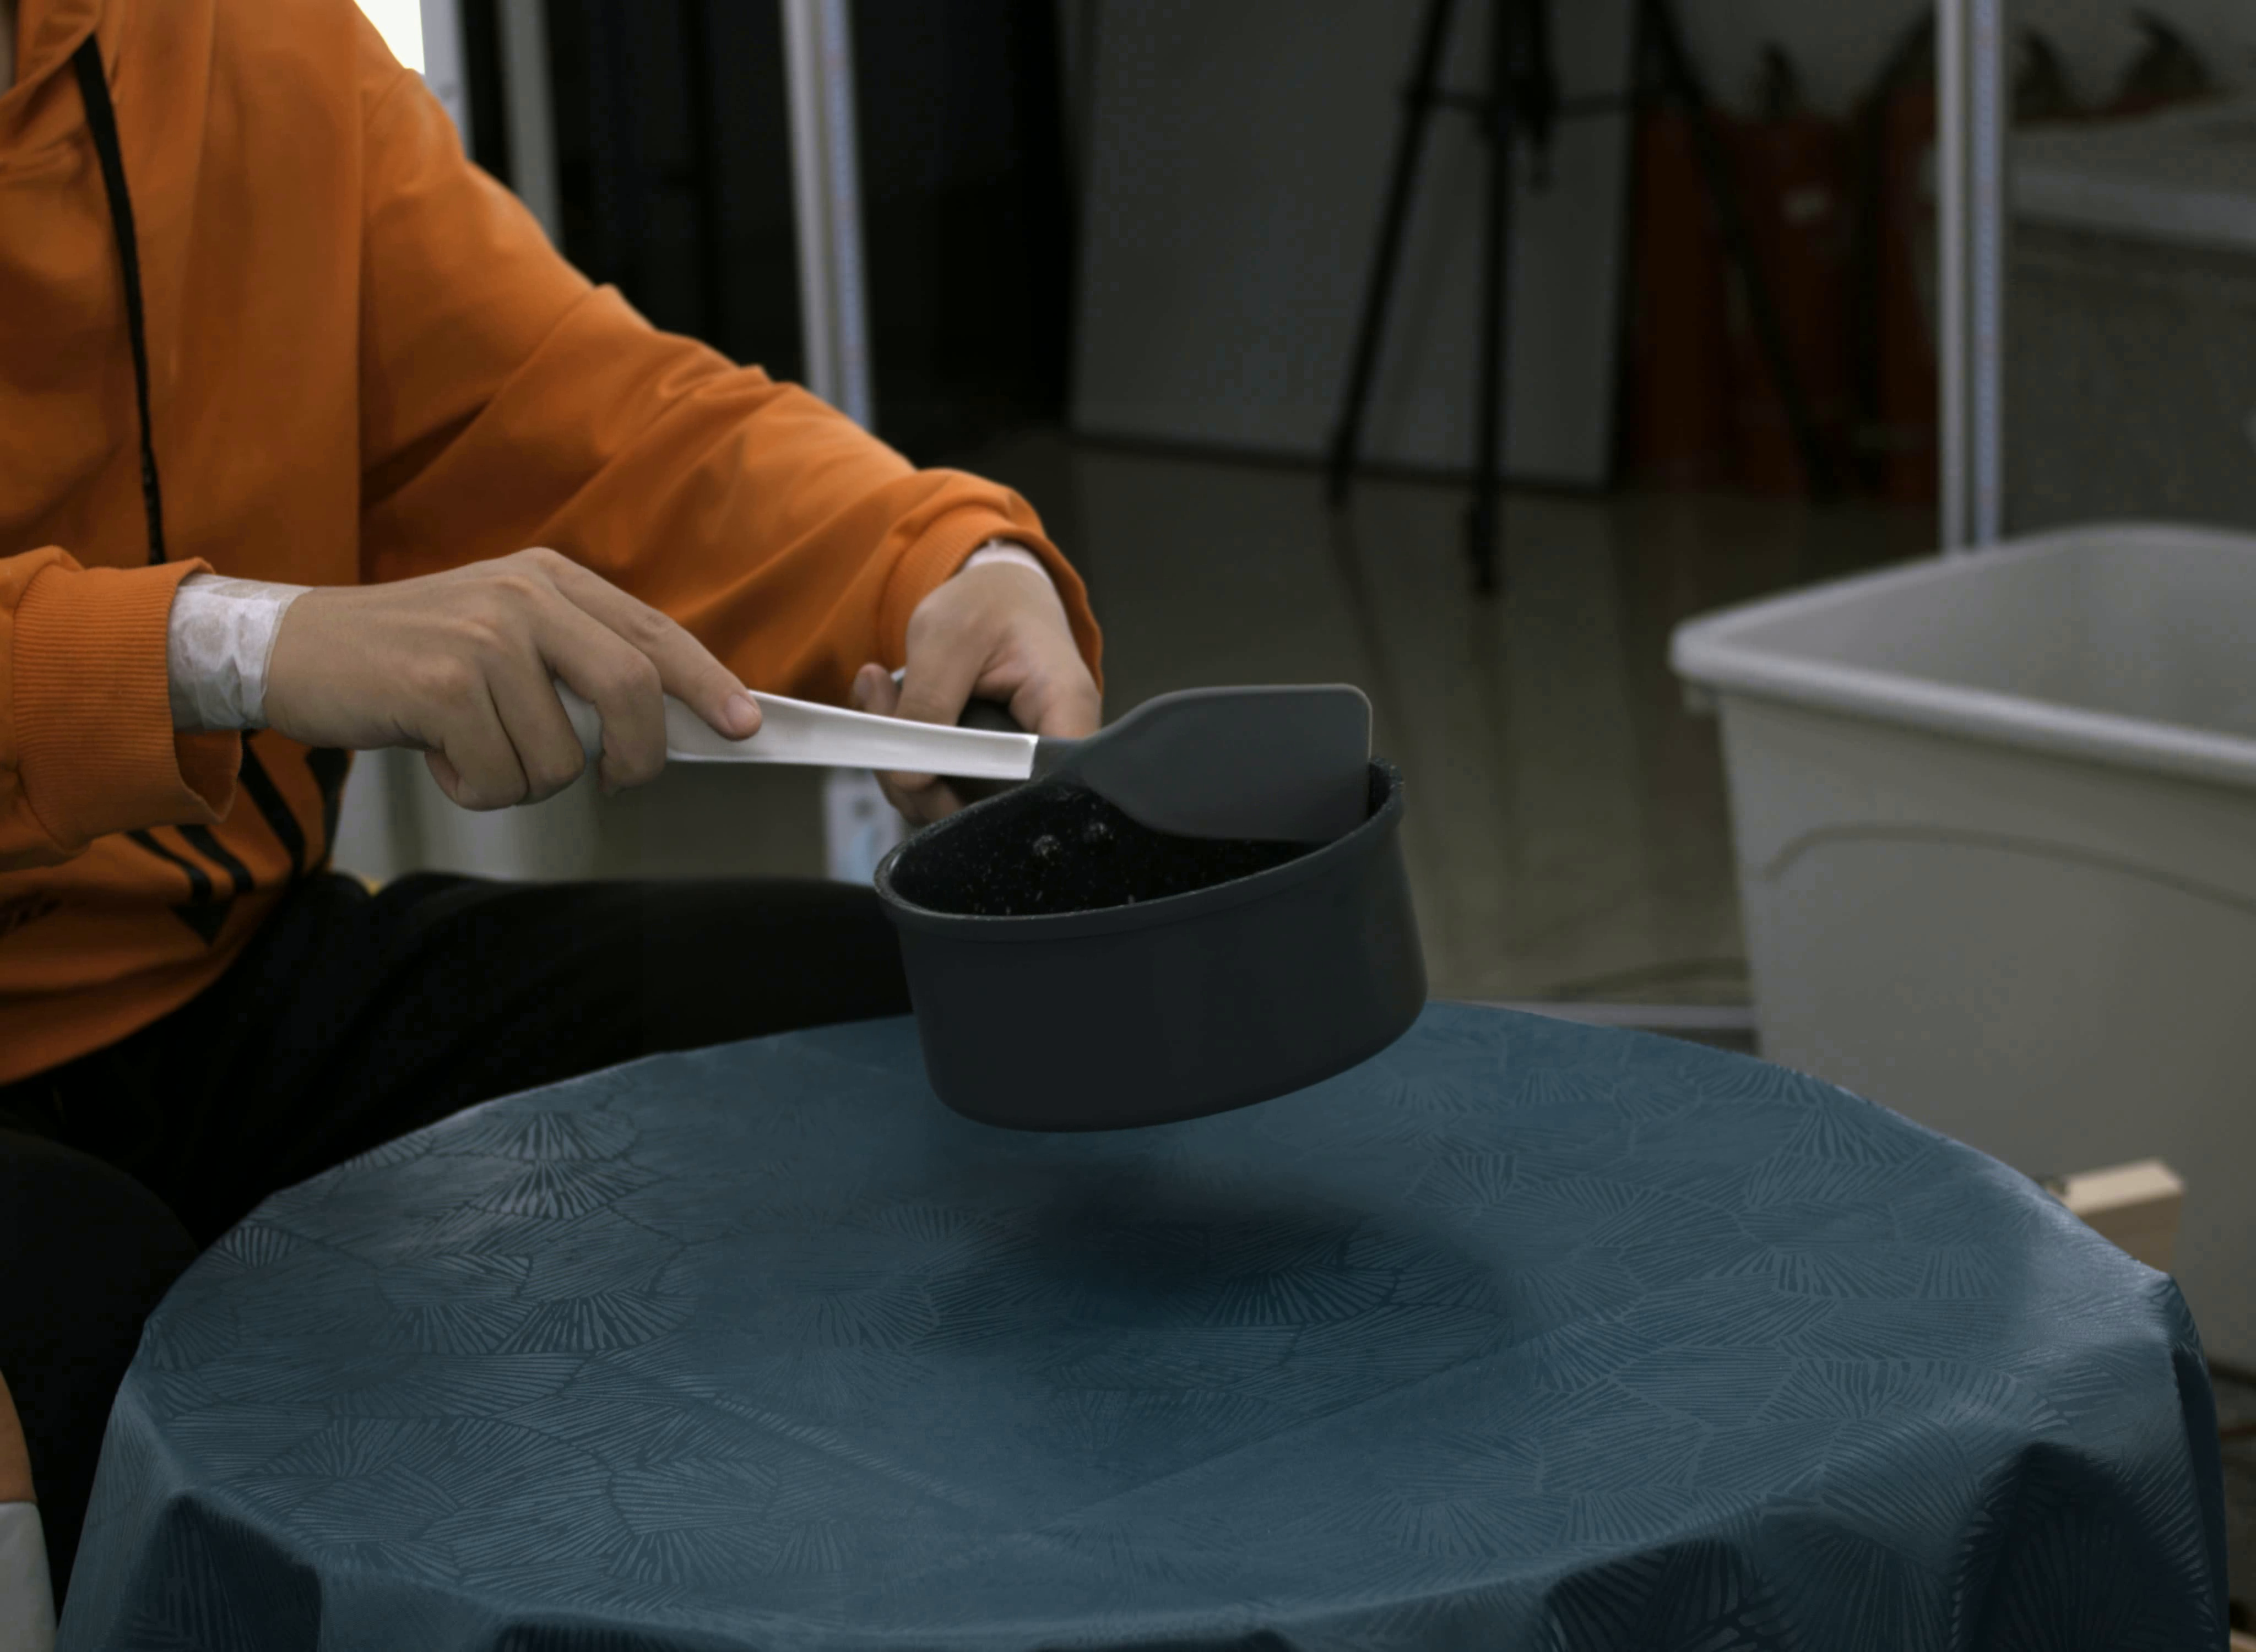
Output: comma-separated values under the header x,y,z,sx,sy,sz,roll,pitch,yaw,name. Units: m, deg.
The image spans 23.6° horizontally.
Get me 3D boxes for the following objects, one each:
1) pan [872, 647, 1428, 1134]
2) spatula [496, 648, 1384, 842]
x,y,z,sx,sy,sz,roll,pitch,yaw,name
-0.013,0.015,1.774,0.169,0.087,0.331,-14,16,-12,pan
-0.060,-0.030,1.723,0.285,0.059,0.032,4,11,9,spatula
